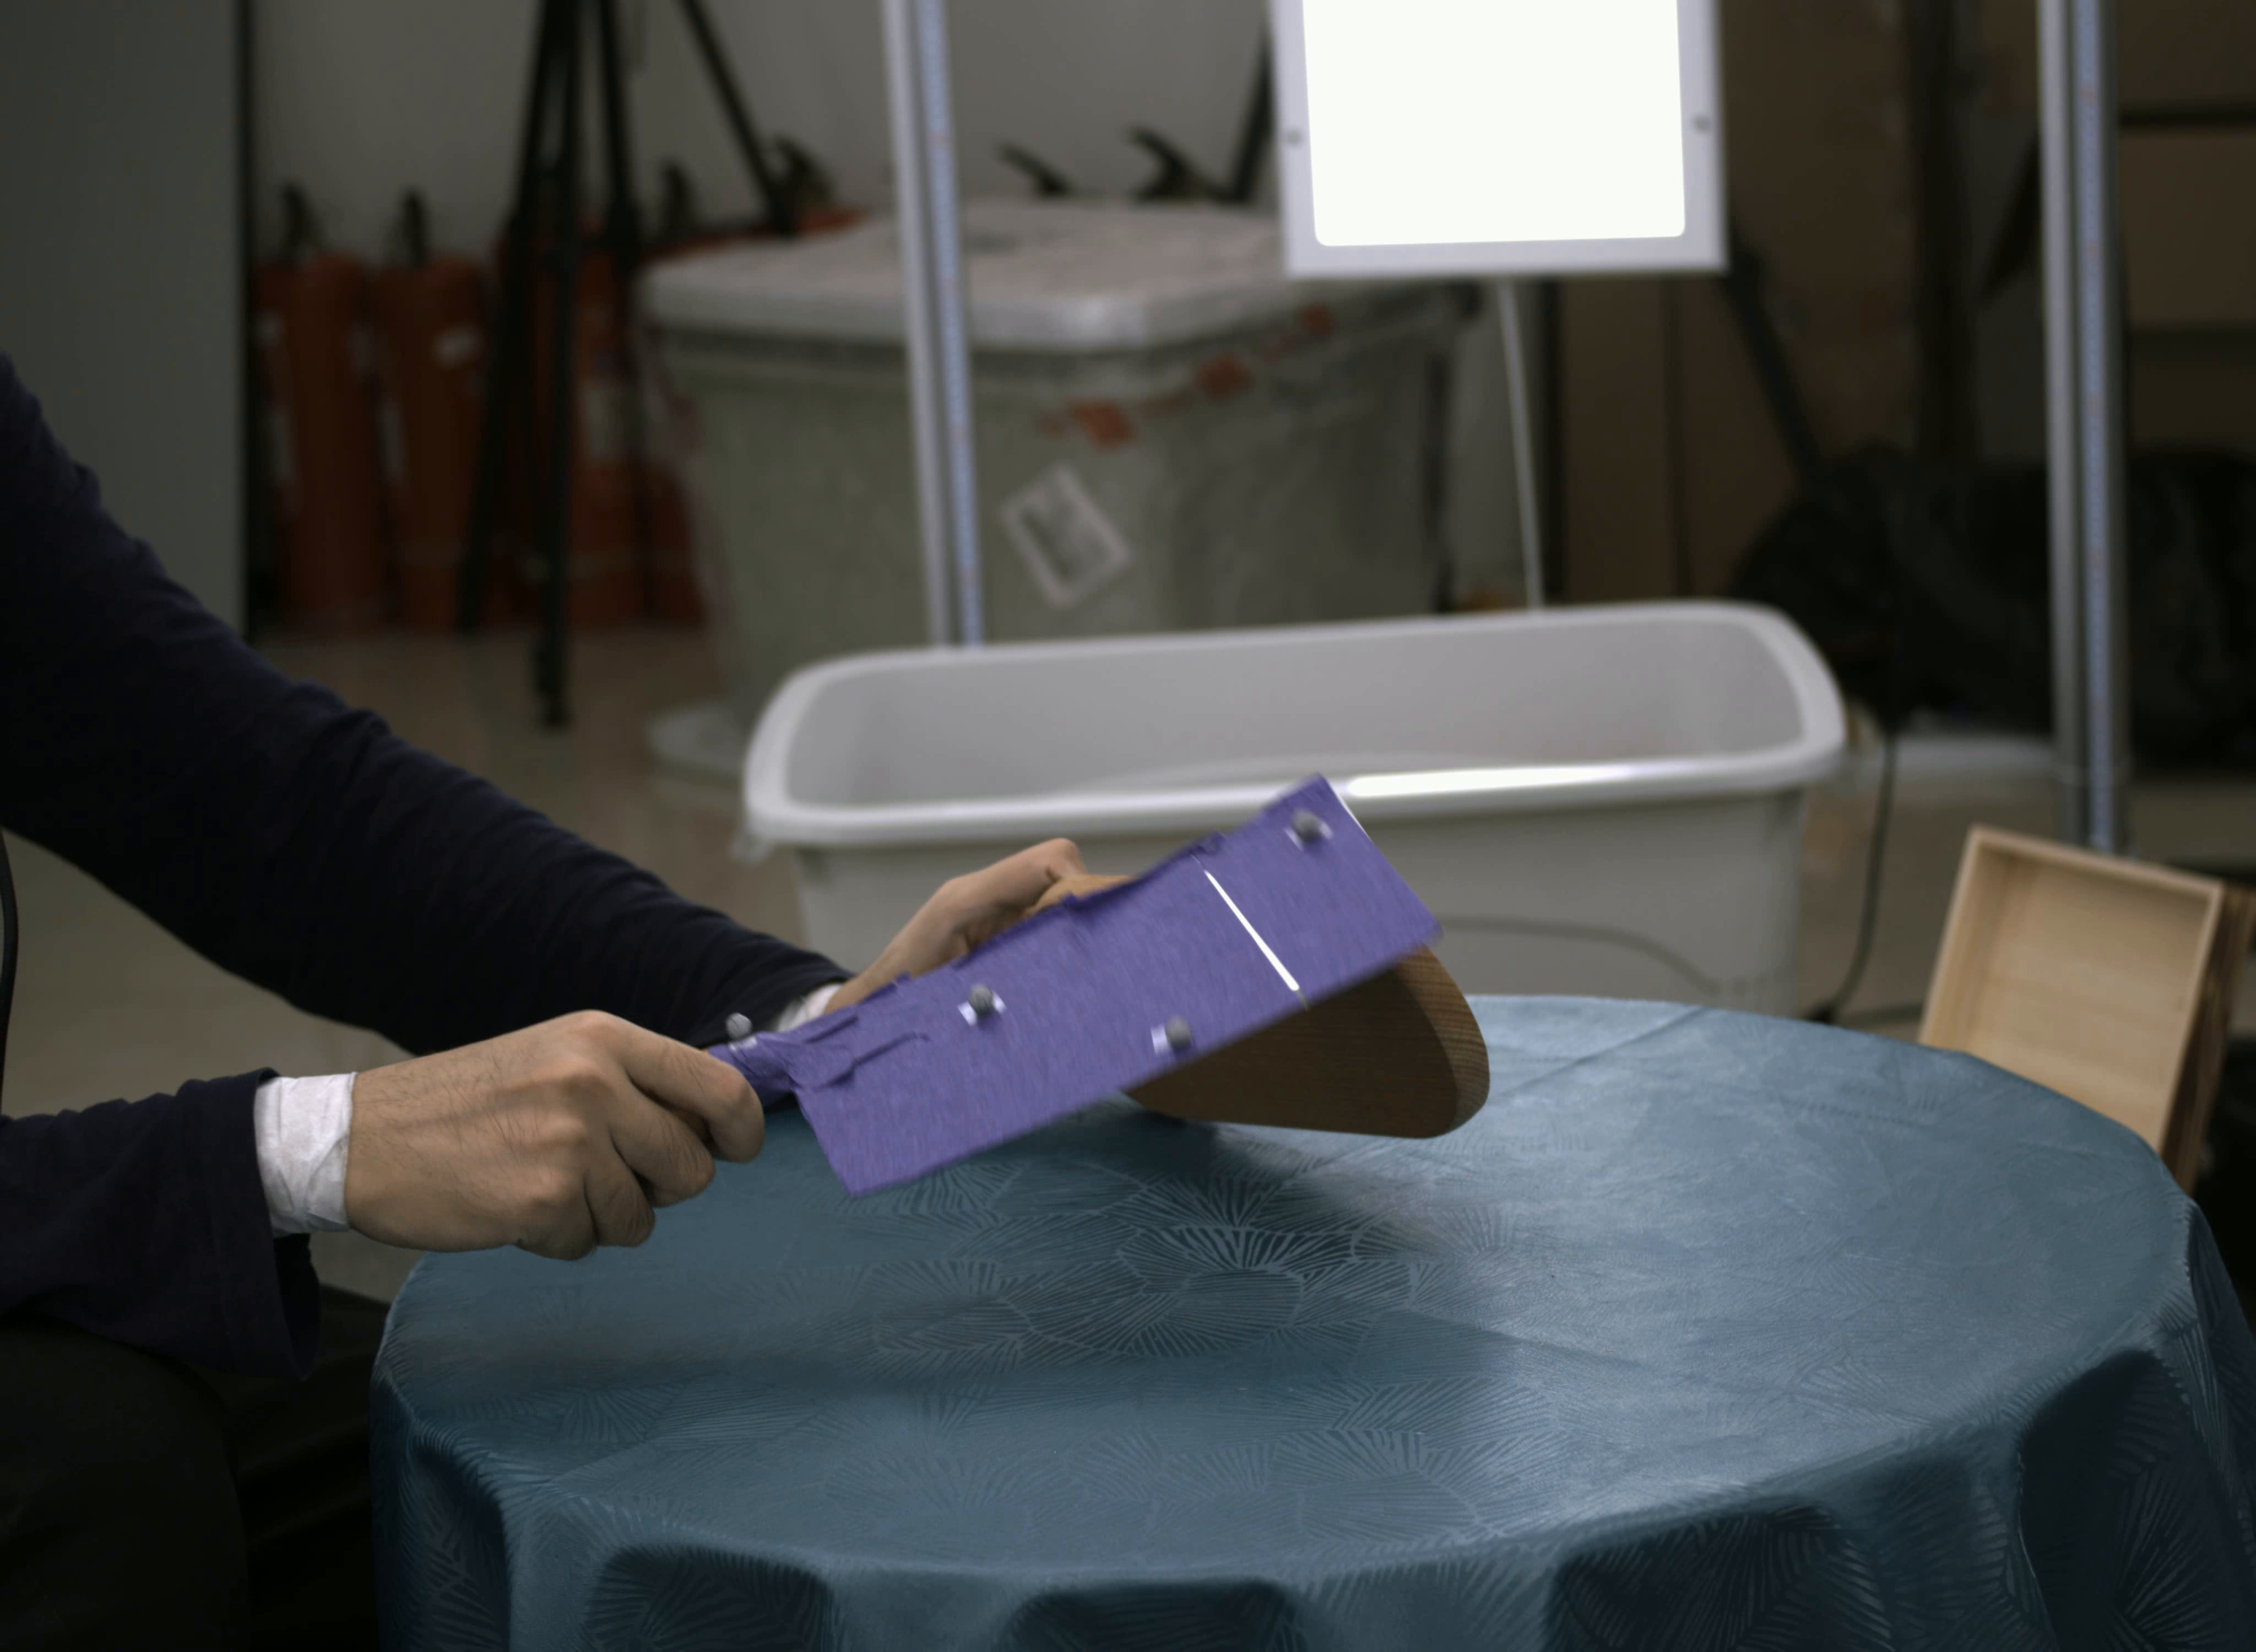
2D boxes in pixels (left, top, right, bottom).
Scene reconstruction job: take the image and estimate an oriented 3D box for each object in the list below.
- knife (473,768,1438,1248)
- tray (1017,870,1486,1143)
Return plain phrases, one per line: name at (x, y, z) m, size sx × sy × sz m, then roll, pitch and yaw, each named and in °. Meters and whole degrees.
knife at (-0.055, 0.072, 1.754) m, size 0.314 × 0.032 × 0.105 m, roll -26°, pitch 39°, yaw -3°
tray at (0.039, 0.062, 1.901) m, size 0.020 × 0.101 × 0.236 m, roll -38°, pitch 22°, yaw -31°
